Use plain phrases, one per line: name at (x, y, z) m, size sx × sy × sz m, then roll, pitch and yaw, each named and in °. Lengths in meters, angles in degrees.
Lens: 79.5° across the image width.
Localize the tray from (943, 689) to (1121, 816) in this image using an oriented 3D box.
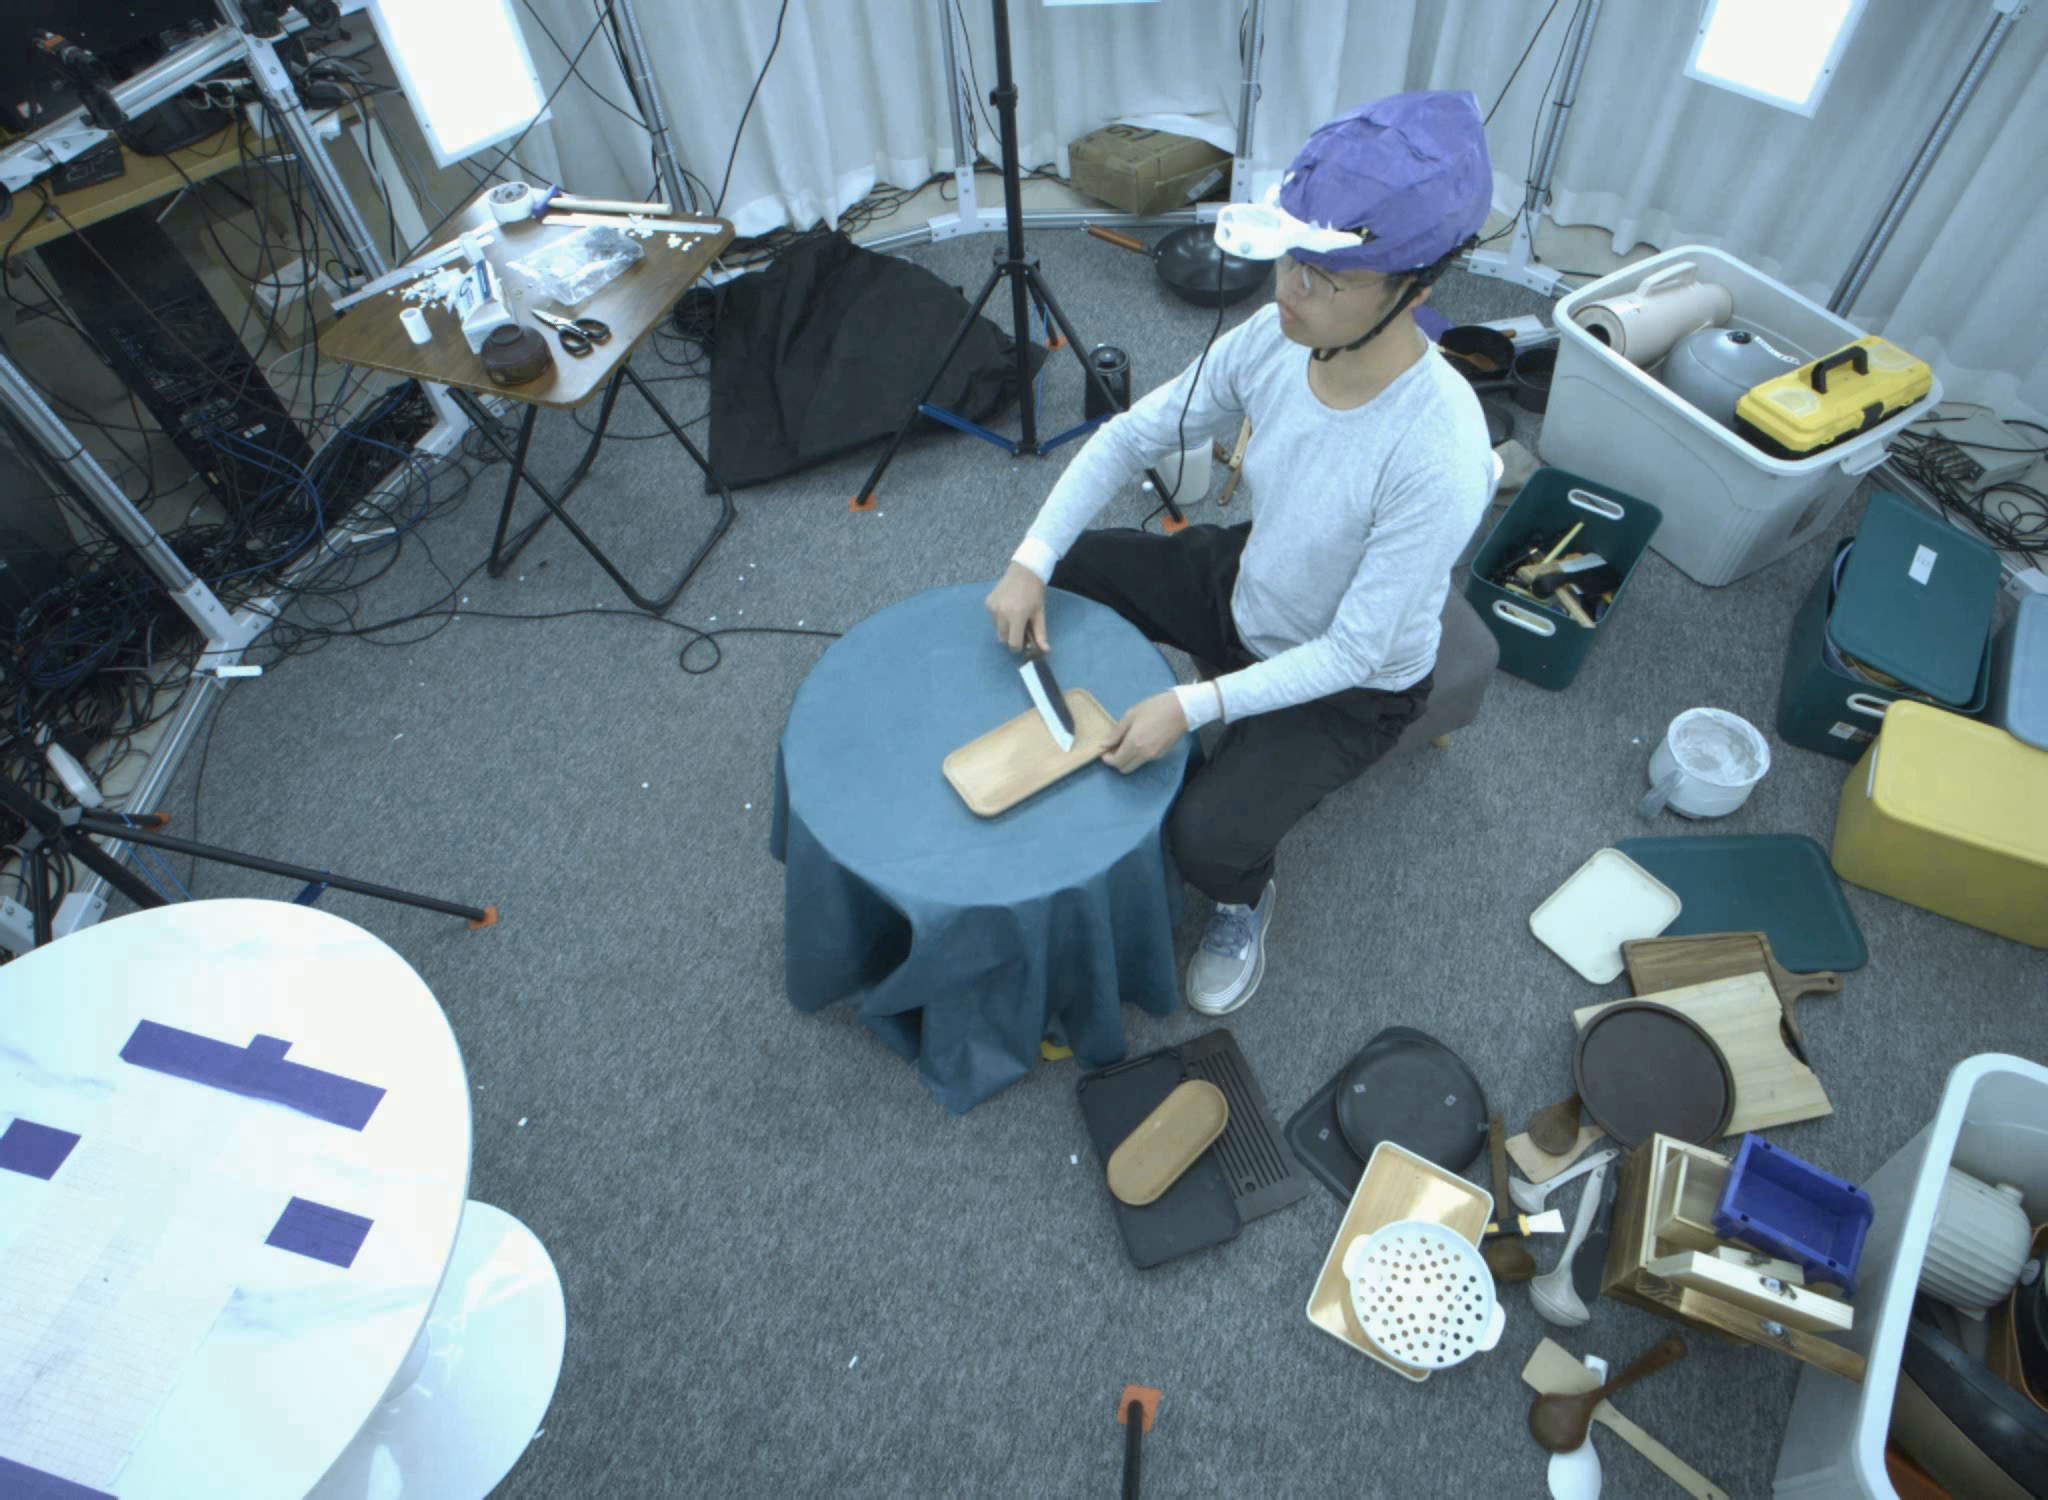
tray at (0.013, 0.002, 1.778) m, size 0.252 × 0.023 × 0.128 m, roll -27°, pitch 58°, yaw -16°

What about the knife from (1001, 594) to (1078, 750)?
knife at (0.022, -0.120, 1.836) m, size 0.050 × 0.020 × 0.285 m, roll -34°, pitch 61°, yaw 21°
